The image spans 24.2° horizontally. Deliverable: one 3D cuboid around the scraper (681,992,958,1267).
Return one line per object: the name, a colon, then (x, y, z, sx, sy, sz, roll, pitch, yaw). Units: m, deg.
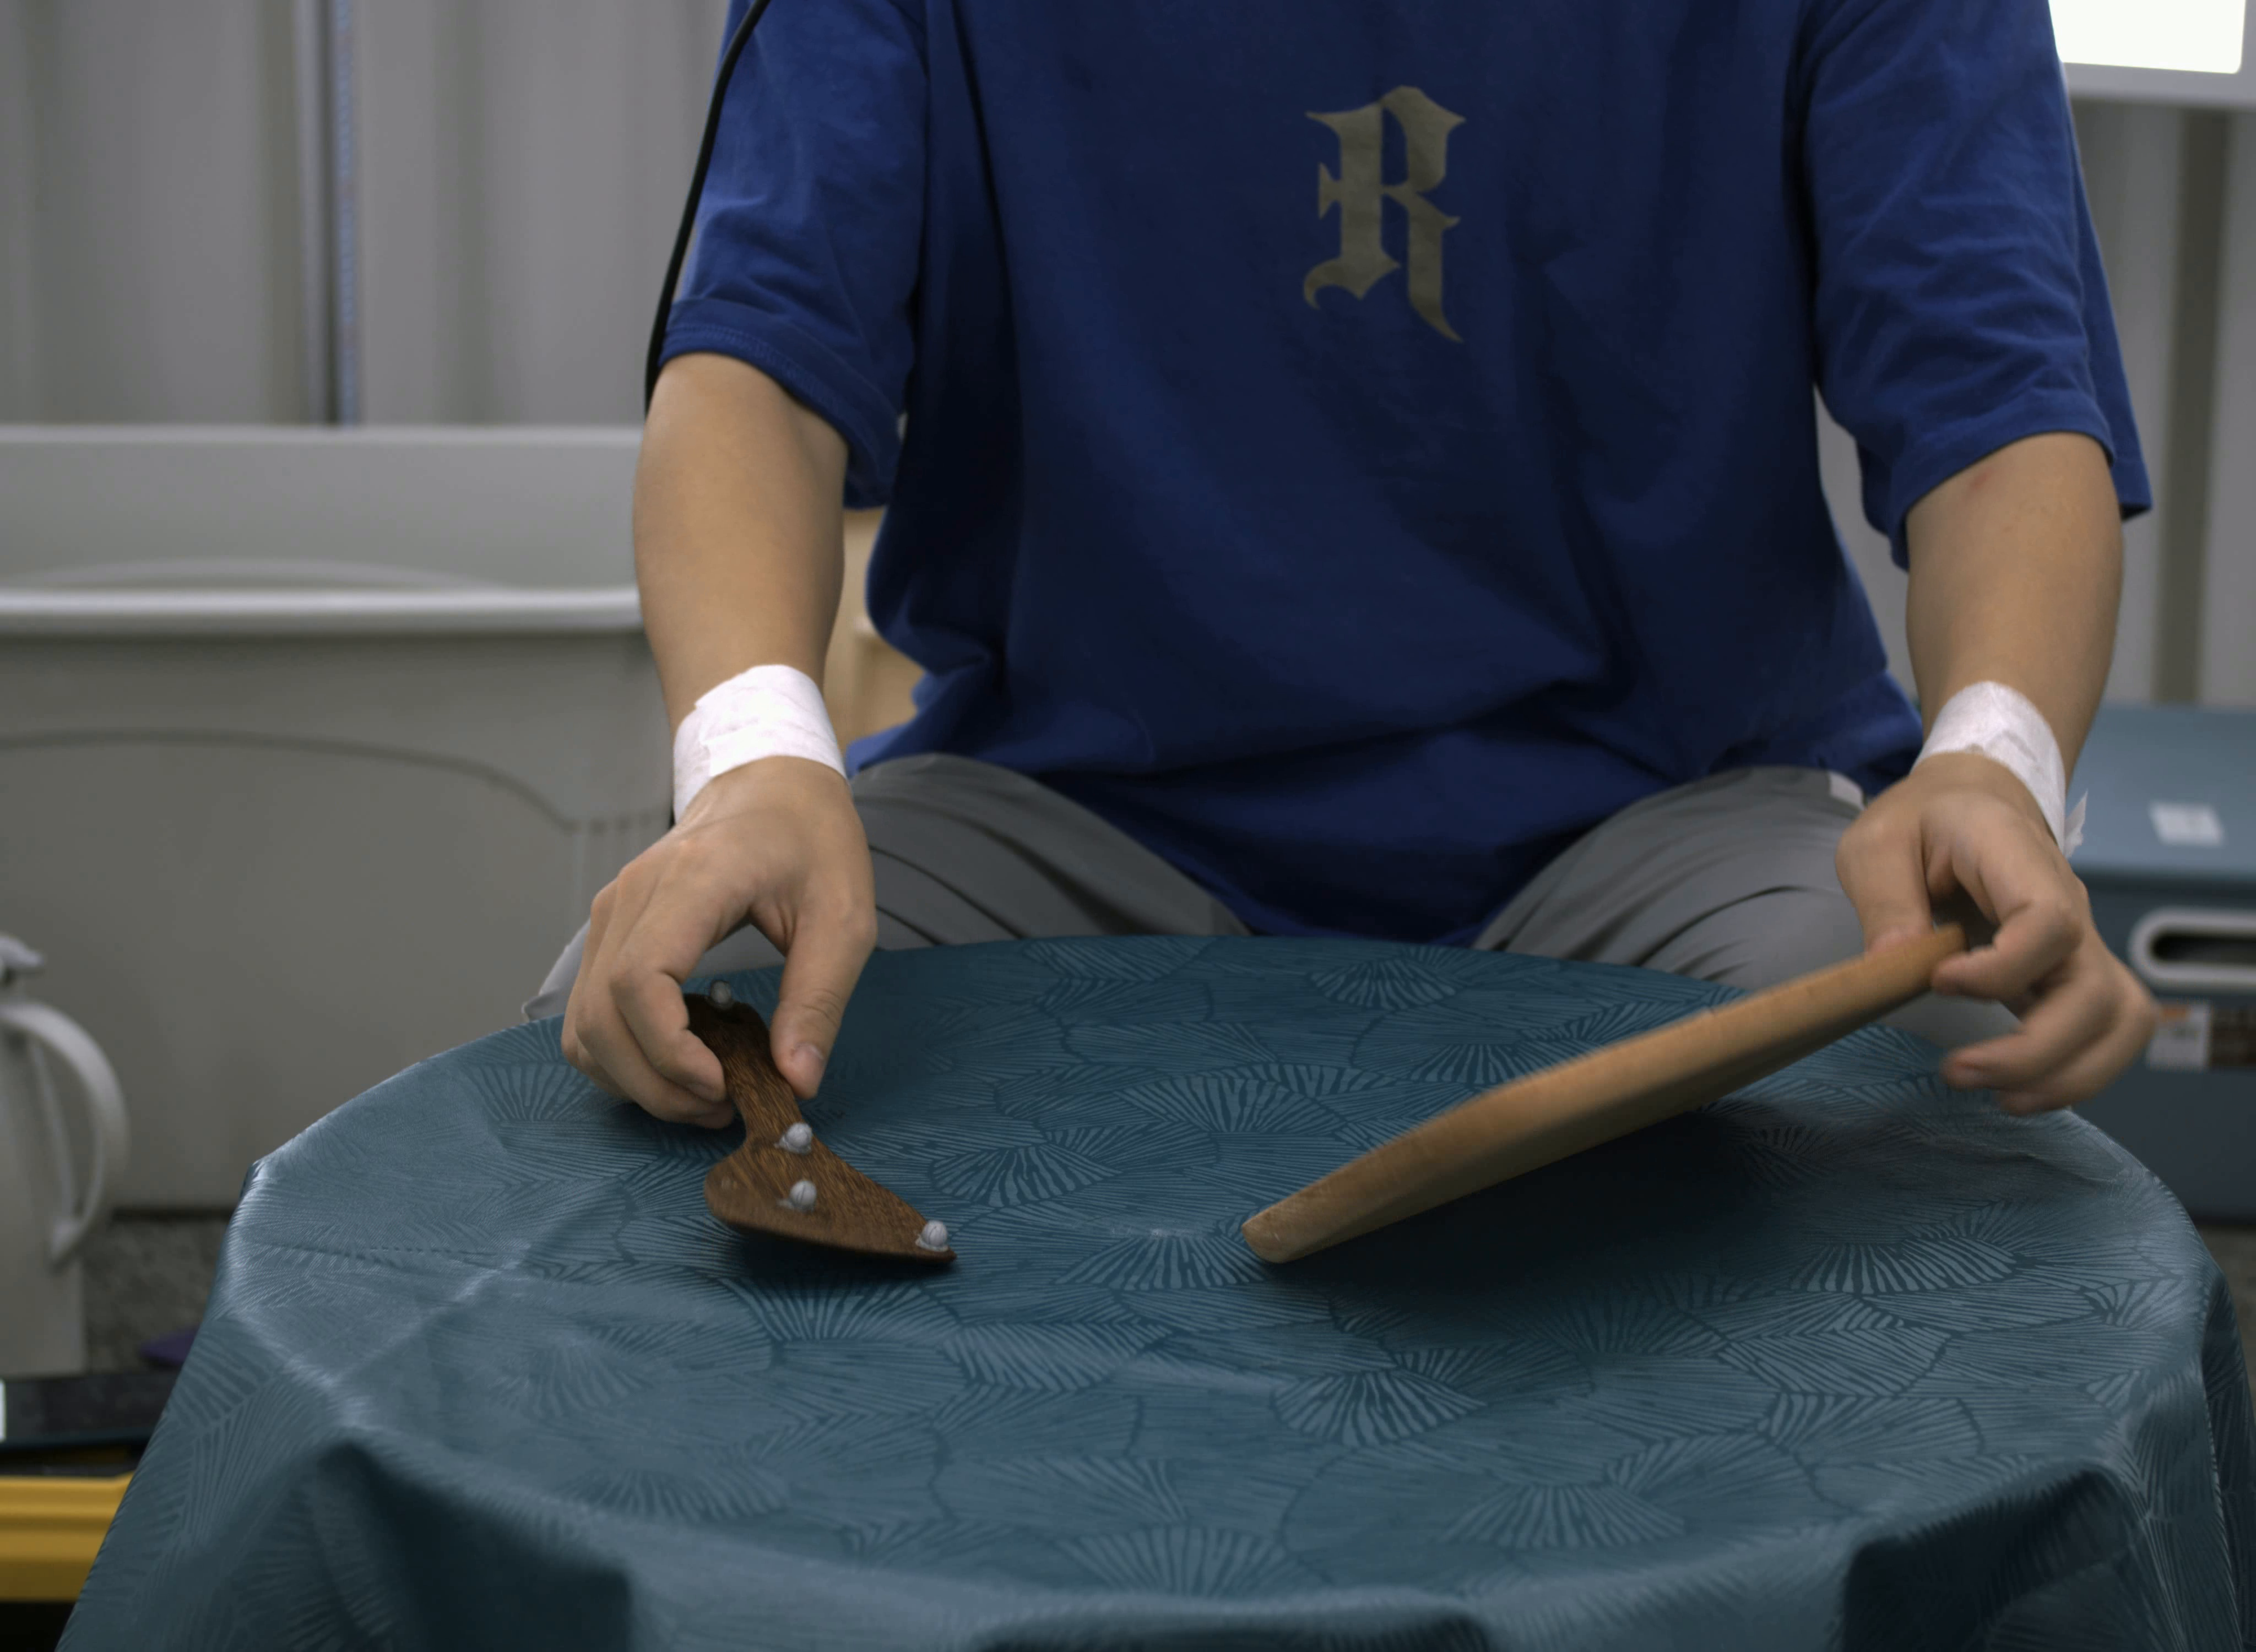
scraper: (-0.108, 0.092, 1.627, 0.076, 0.011, 0.209, 9, 17, -18)

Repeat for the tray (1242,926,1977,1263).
tray: (0.150, 0.081, 1.596, 0.252, 0.023, 0.130, -16, -8, -43)
